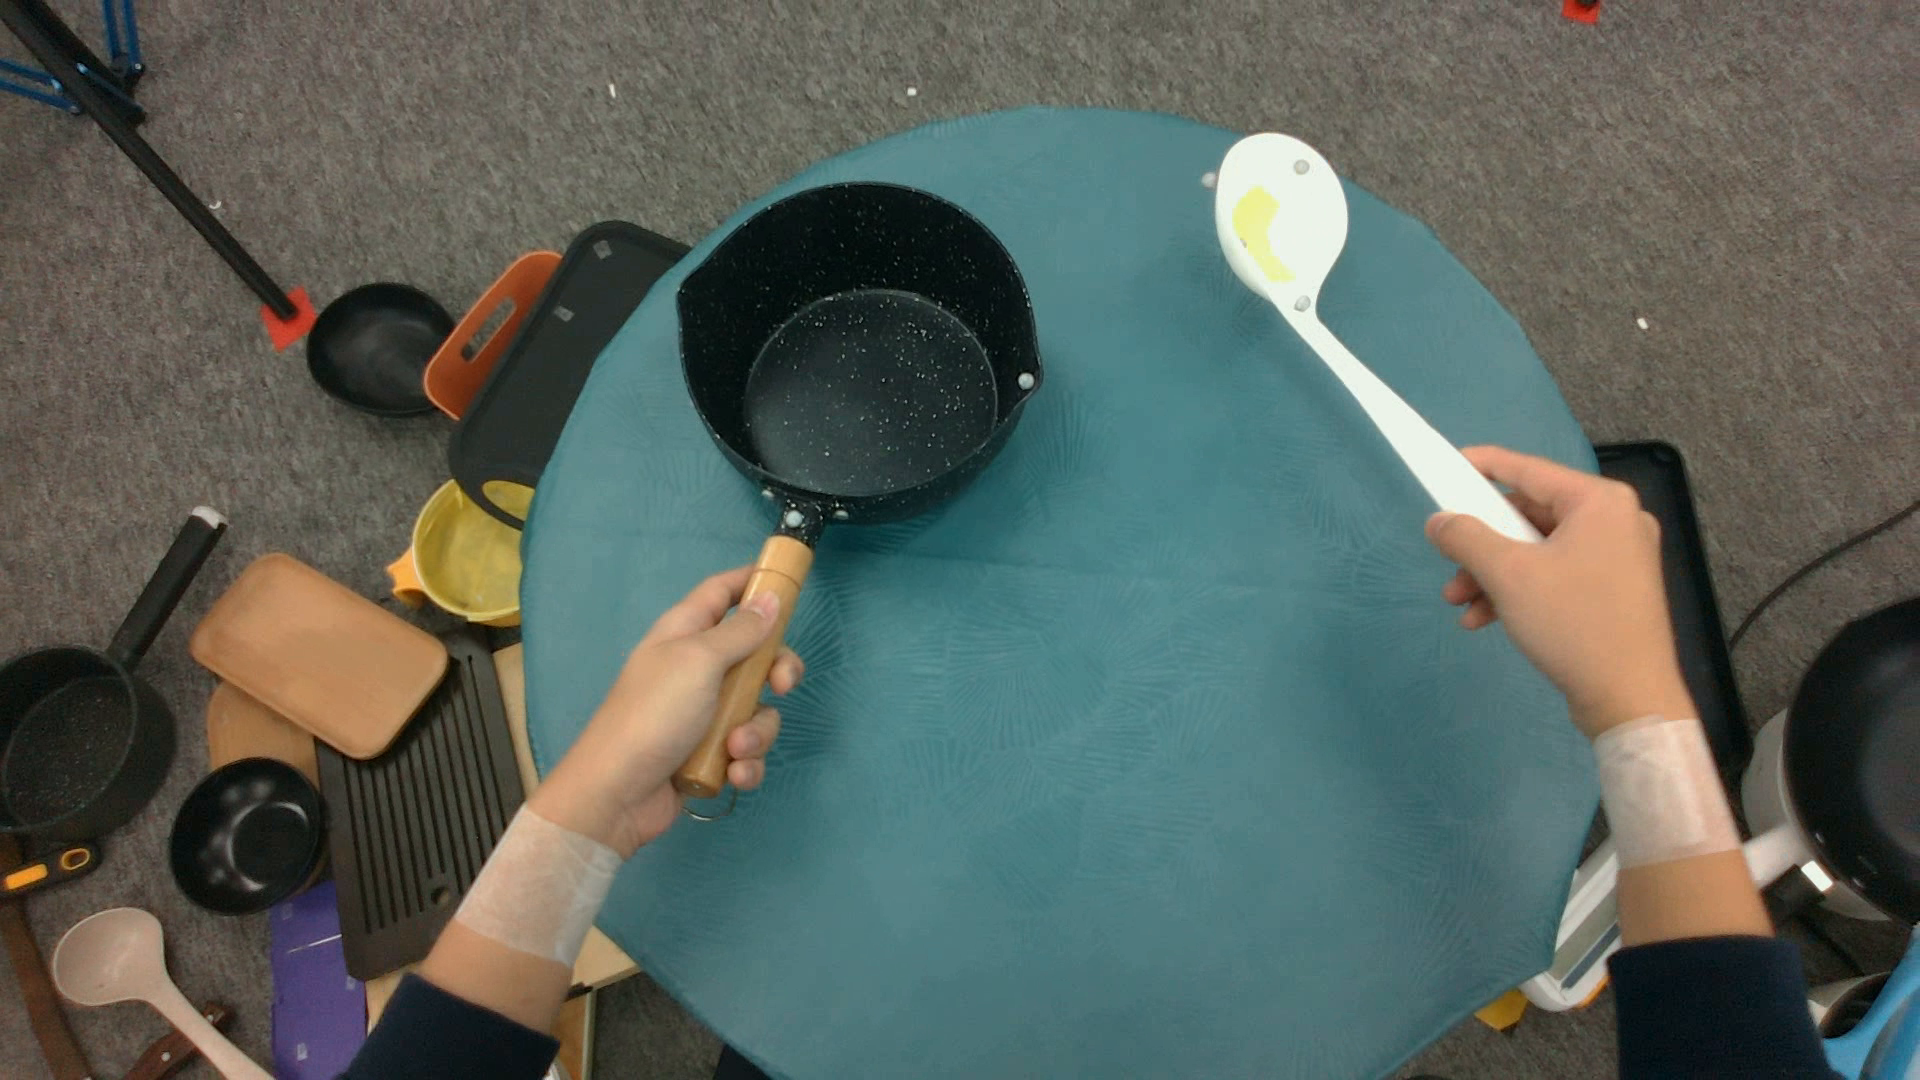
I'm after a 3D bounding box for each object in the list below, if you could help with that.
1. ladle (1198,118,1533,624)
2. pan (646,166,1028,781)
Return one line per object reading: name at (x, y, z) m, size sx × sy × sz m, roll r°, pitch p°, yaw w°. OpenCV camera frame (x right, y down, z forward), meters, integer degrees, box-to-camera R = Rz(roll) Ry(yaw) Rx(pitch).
ladle at (0.200, -0.095, 0.682) m, size 0.090 × 0.069 × 0.294 m, roll 0°, pitch 49°, yaw -30°
pan at (-0.082, -0.032, 0.713) m, size 0.207 × 0.108 × 0.344 m, roll 13°, pitch 69°, yaw 5°
